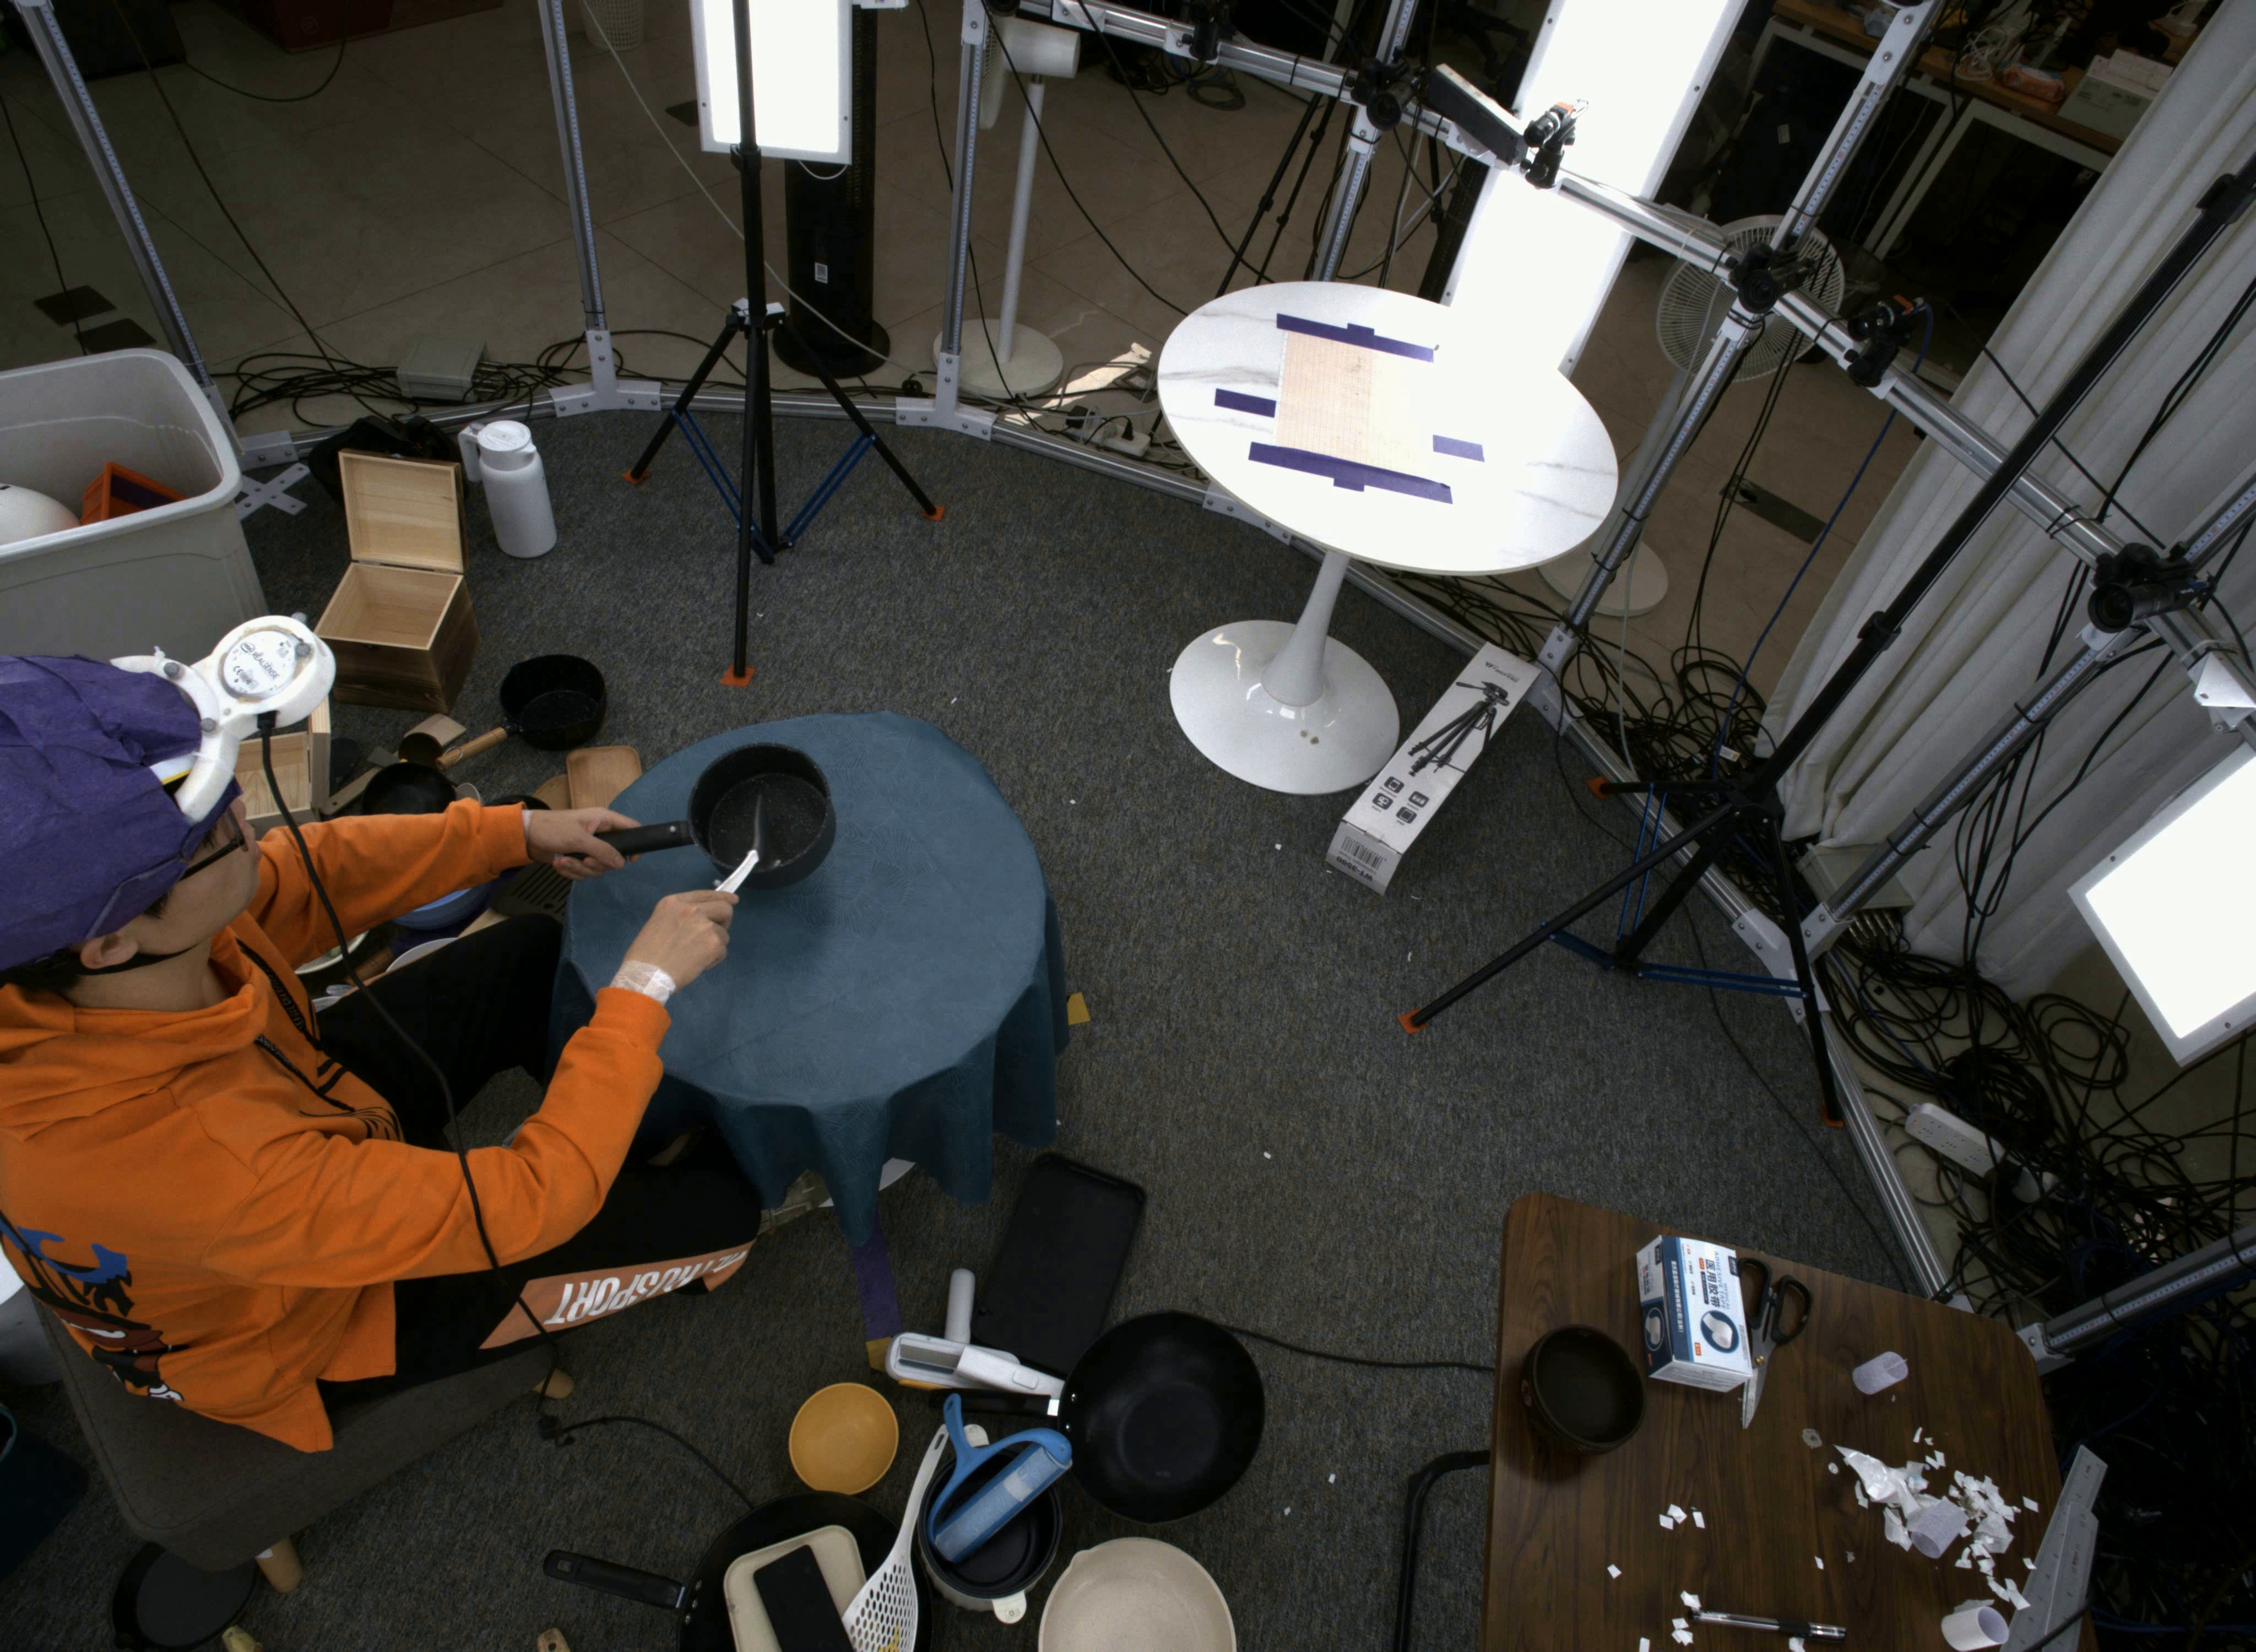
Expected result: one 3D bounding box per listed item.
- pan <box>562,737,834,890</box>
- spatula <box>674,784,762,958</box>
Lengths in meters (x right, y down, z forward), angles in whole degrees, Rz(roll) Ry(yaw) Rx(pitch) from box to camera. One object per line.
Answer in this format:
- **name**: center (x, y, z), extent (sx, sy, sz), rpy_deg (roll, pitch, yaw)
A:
- **pan**: center (-0.517, 0.003, 1.548), extent (0.328, 0.088, 0.169), rpy_deg (-11, 68, -12)
- **spatula**: center (-0.454, 0.047, 1.469), extent (0.031, 0.061, 0.282), rpy_deg (-6, 33, 8)
